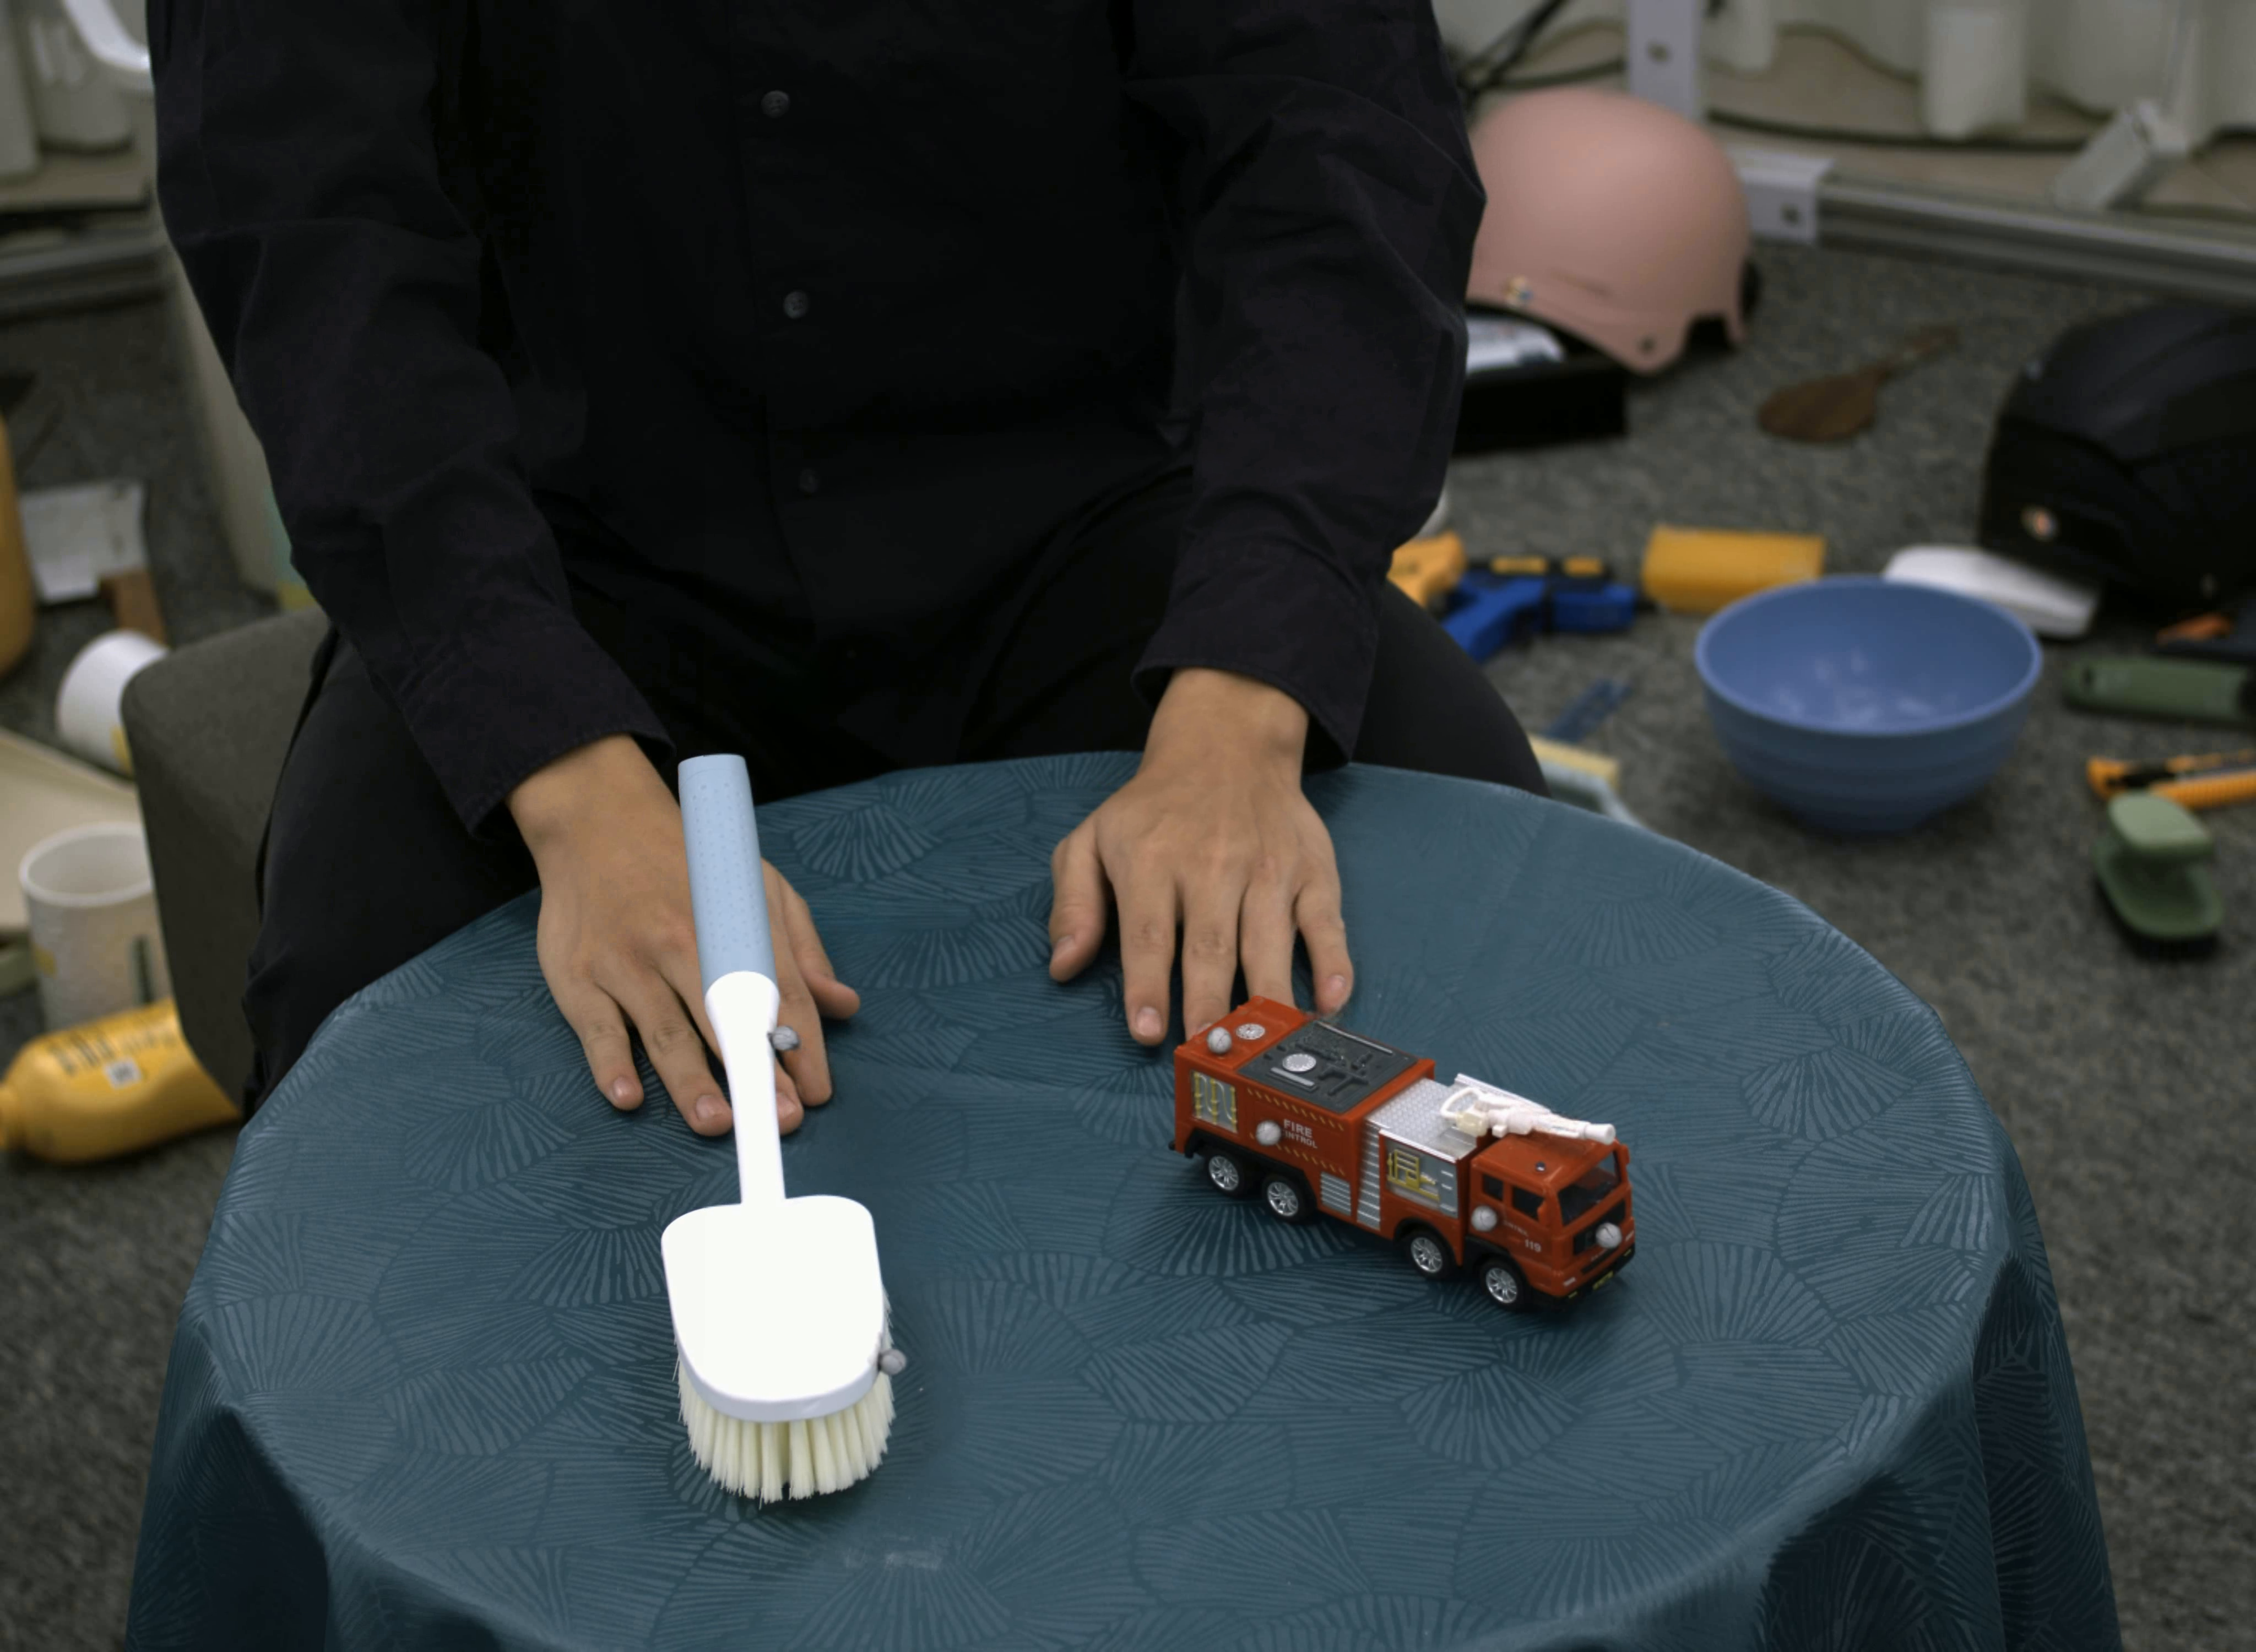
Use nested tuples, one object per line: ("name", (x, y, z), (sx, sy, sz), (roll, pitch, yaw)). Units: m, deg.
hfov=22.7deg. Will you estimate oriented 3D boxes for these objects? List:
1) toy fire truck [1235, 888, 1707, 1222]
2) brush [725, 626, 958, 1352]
("toy fire truck", (0.111, 0.071, 1.826), (0.167, 0.069, 0.055), (18, 33, 36))
("brush", (-0.097, 0.061, 1.844), (0.083, 0.083, 0.331), (26, 30, -26))
